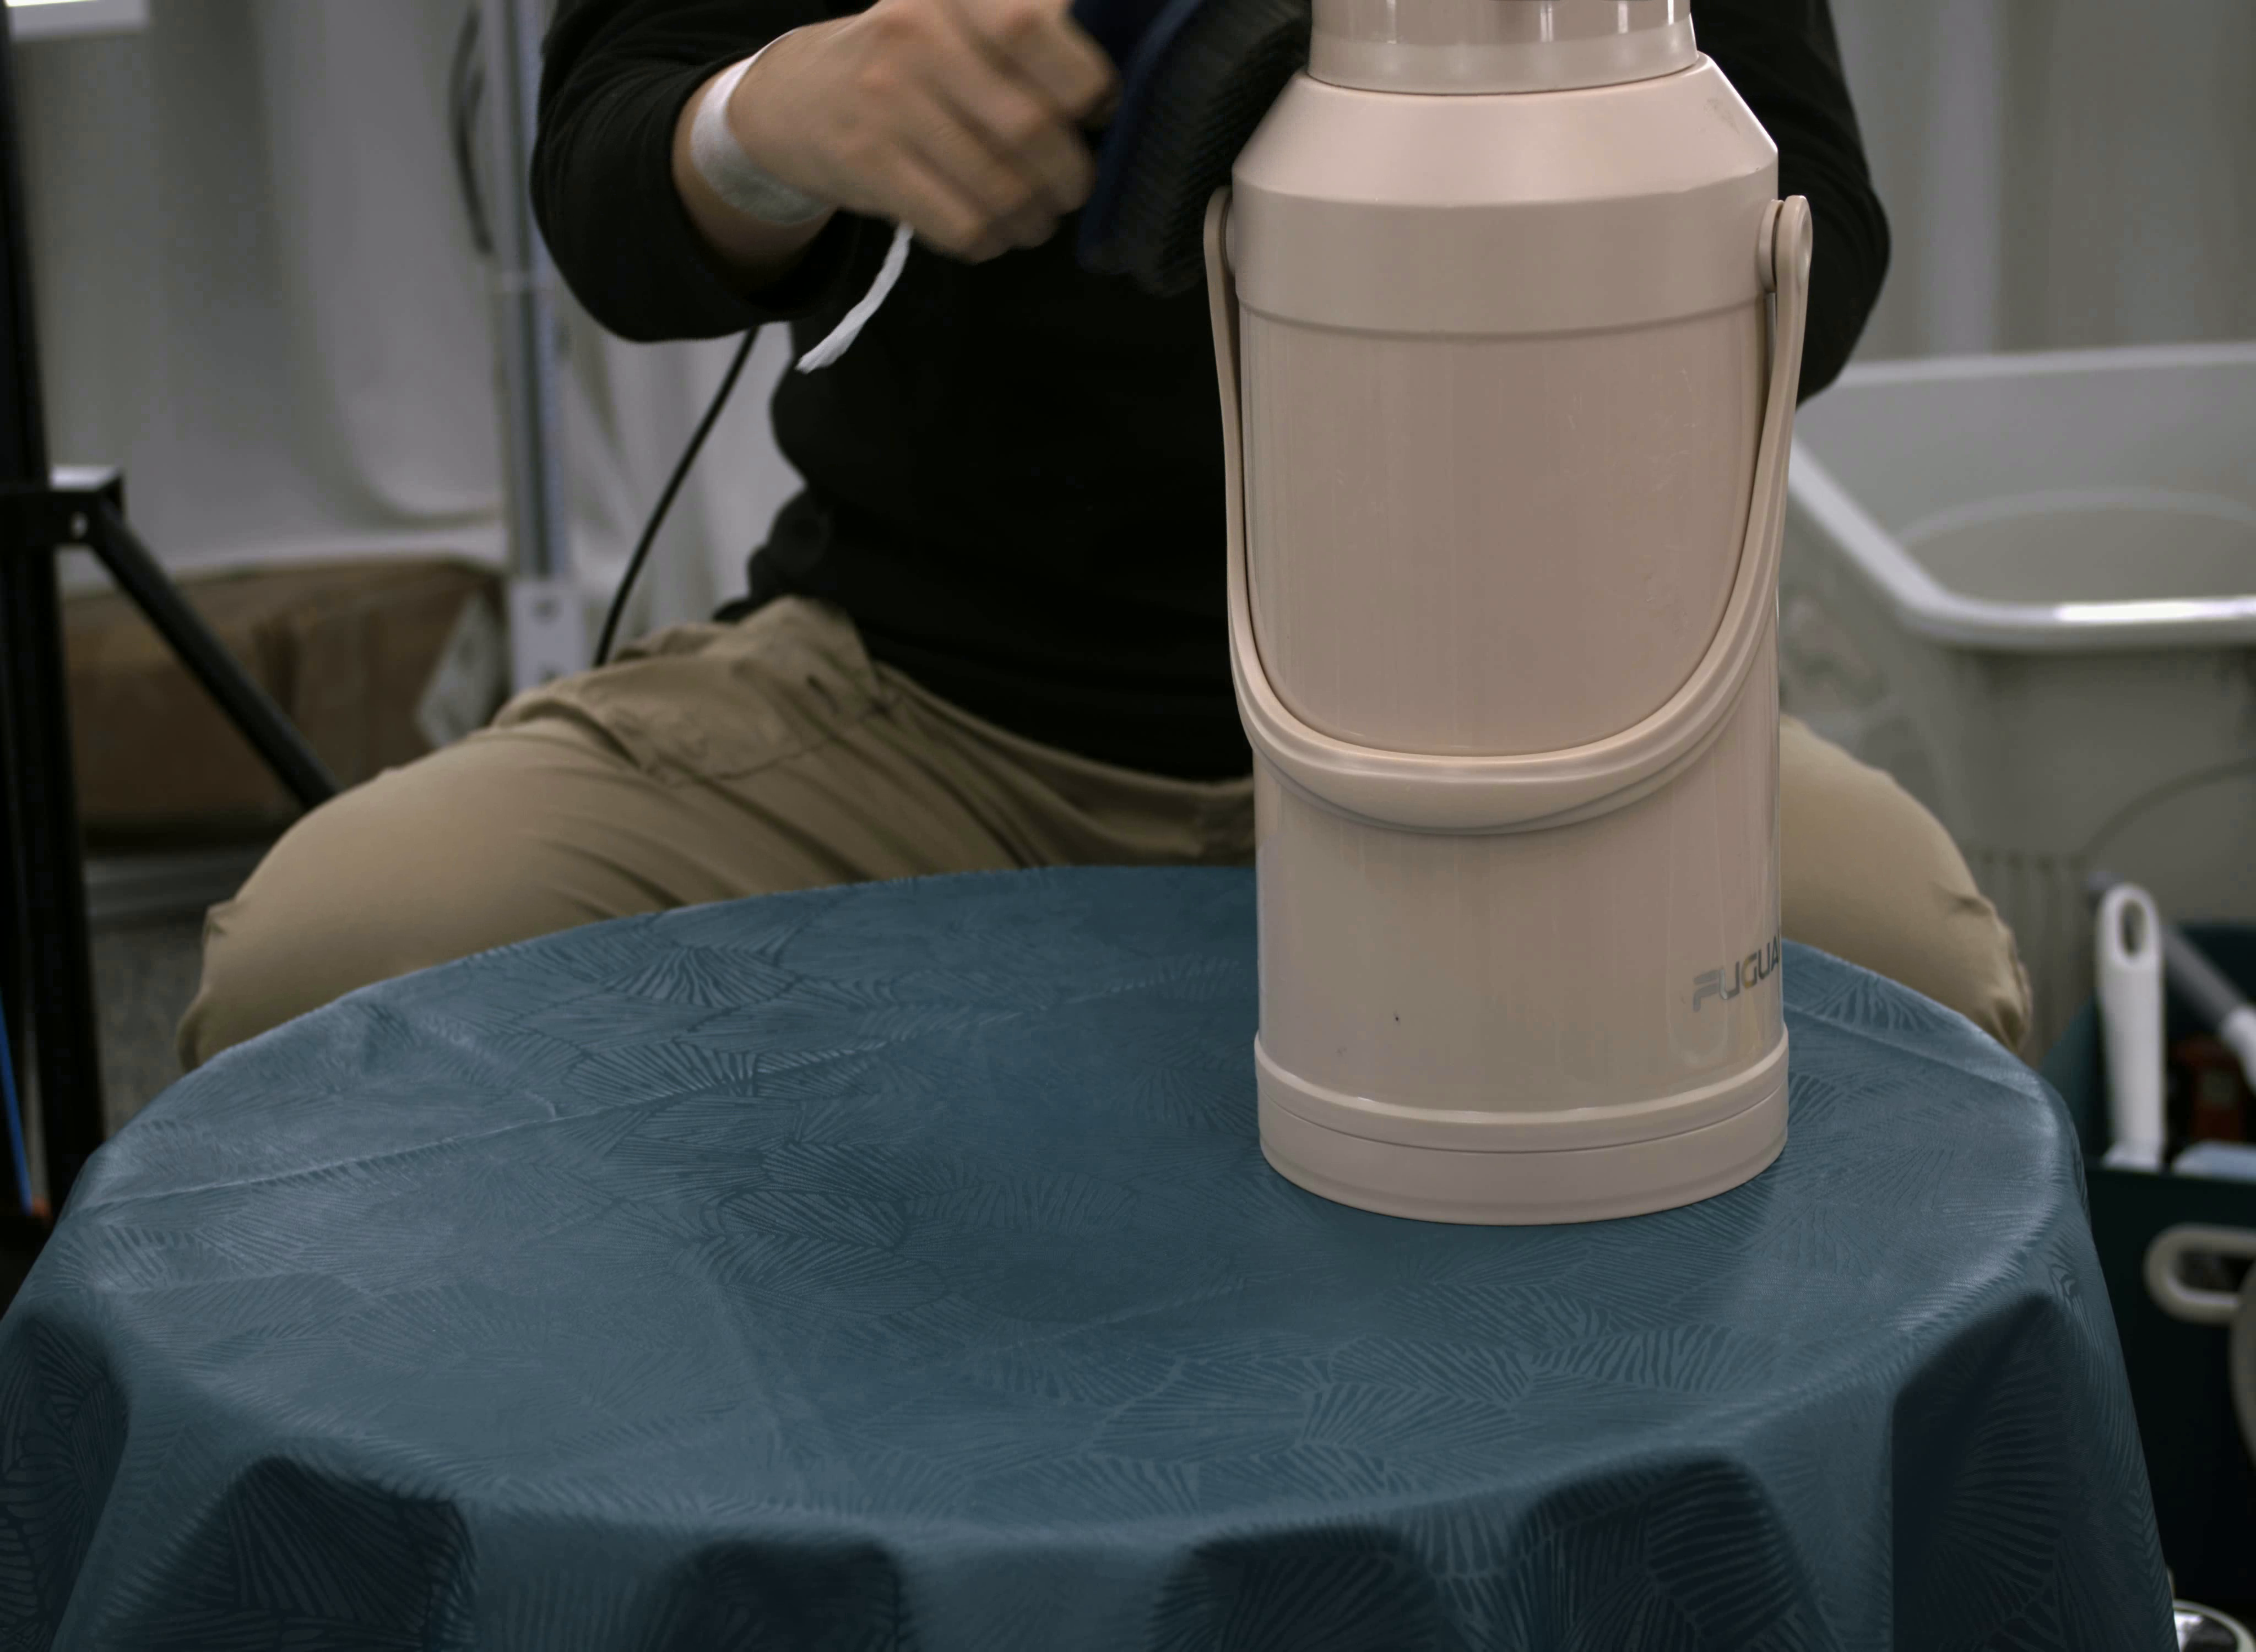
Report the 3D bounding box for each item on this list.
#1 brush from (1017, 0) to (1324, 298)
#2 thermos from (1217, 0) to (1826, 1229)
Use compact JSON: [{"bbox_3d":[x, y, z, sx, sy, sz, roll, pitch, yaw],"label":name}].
[{"bbox_3d":[0.014,-0.208,1.557,0.067,0.122,0.062,-31,67,-35],"label":"brush"},{"bbox_3d":[0.120,-0.101,1.549,0.177,0.406,0.205,2,16,20],"label":"thermos"}]
